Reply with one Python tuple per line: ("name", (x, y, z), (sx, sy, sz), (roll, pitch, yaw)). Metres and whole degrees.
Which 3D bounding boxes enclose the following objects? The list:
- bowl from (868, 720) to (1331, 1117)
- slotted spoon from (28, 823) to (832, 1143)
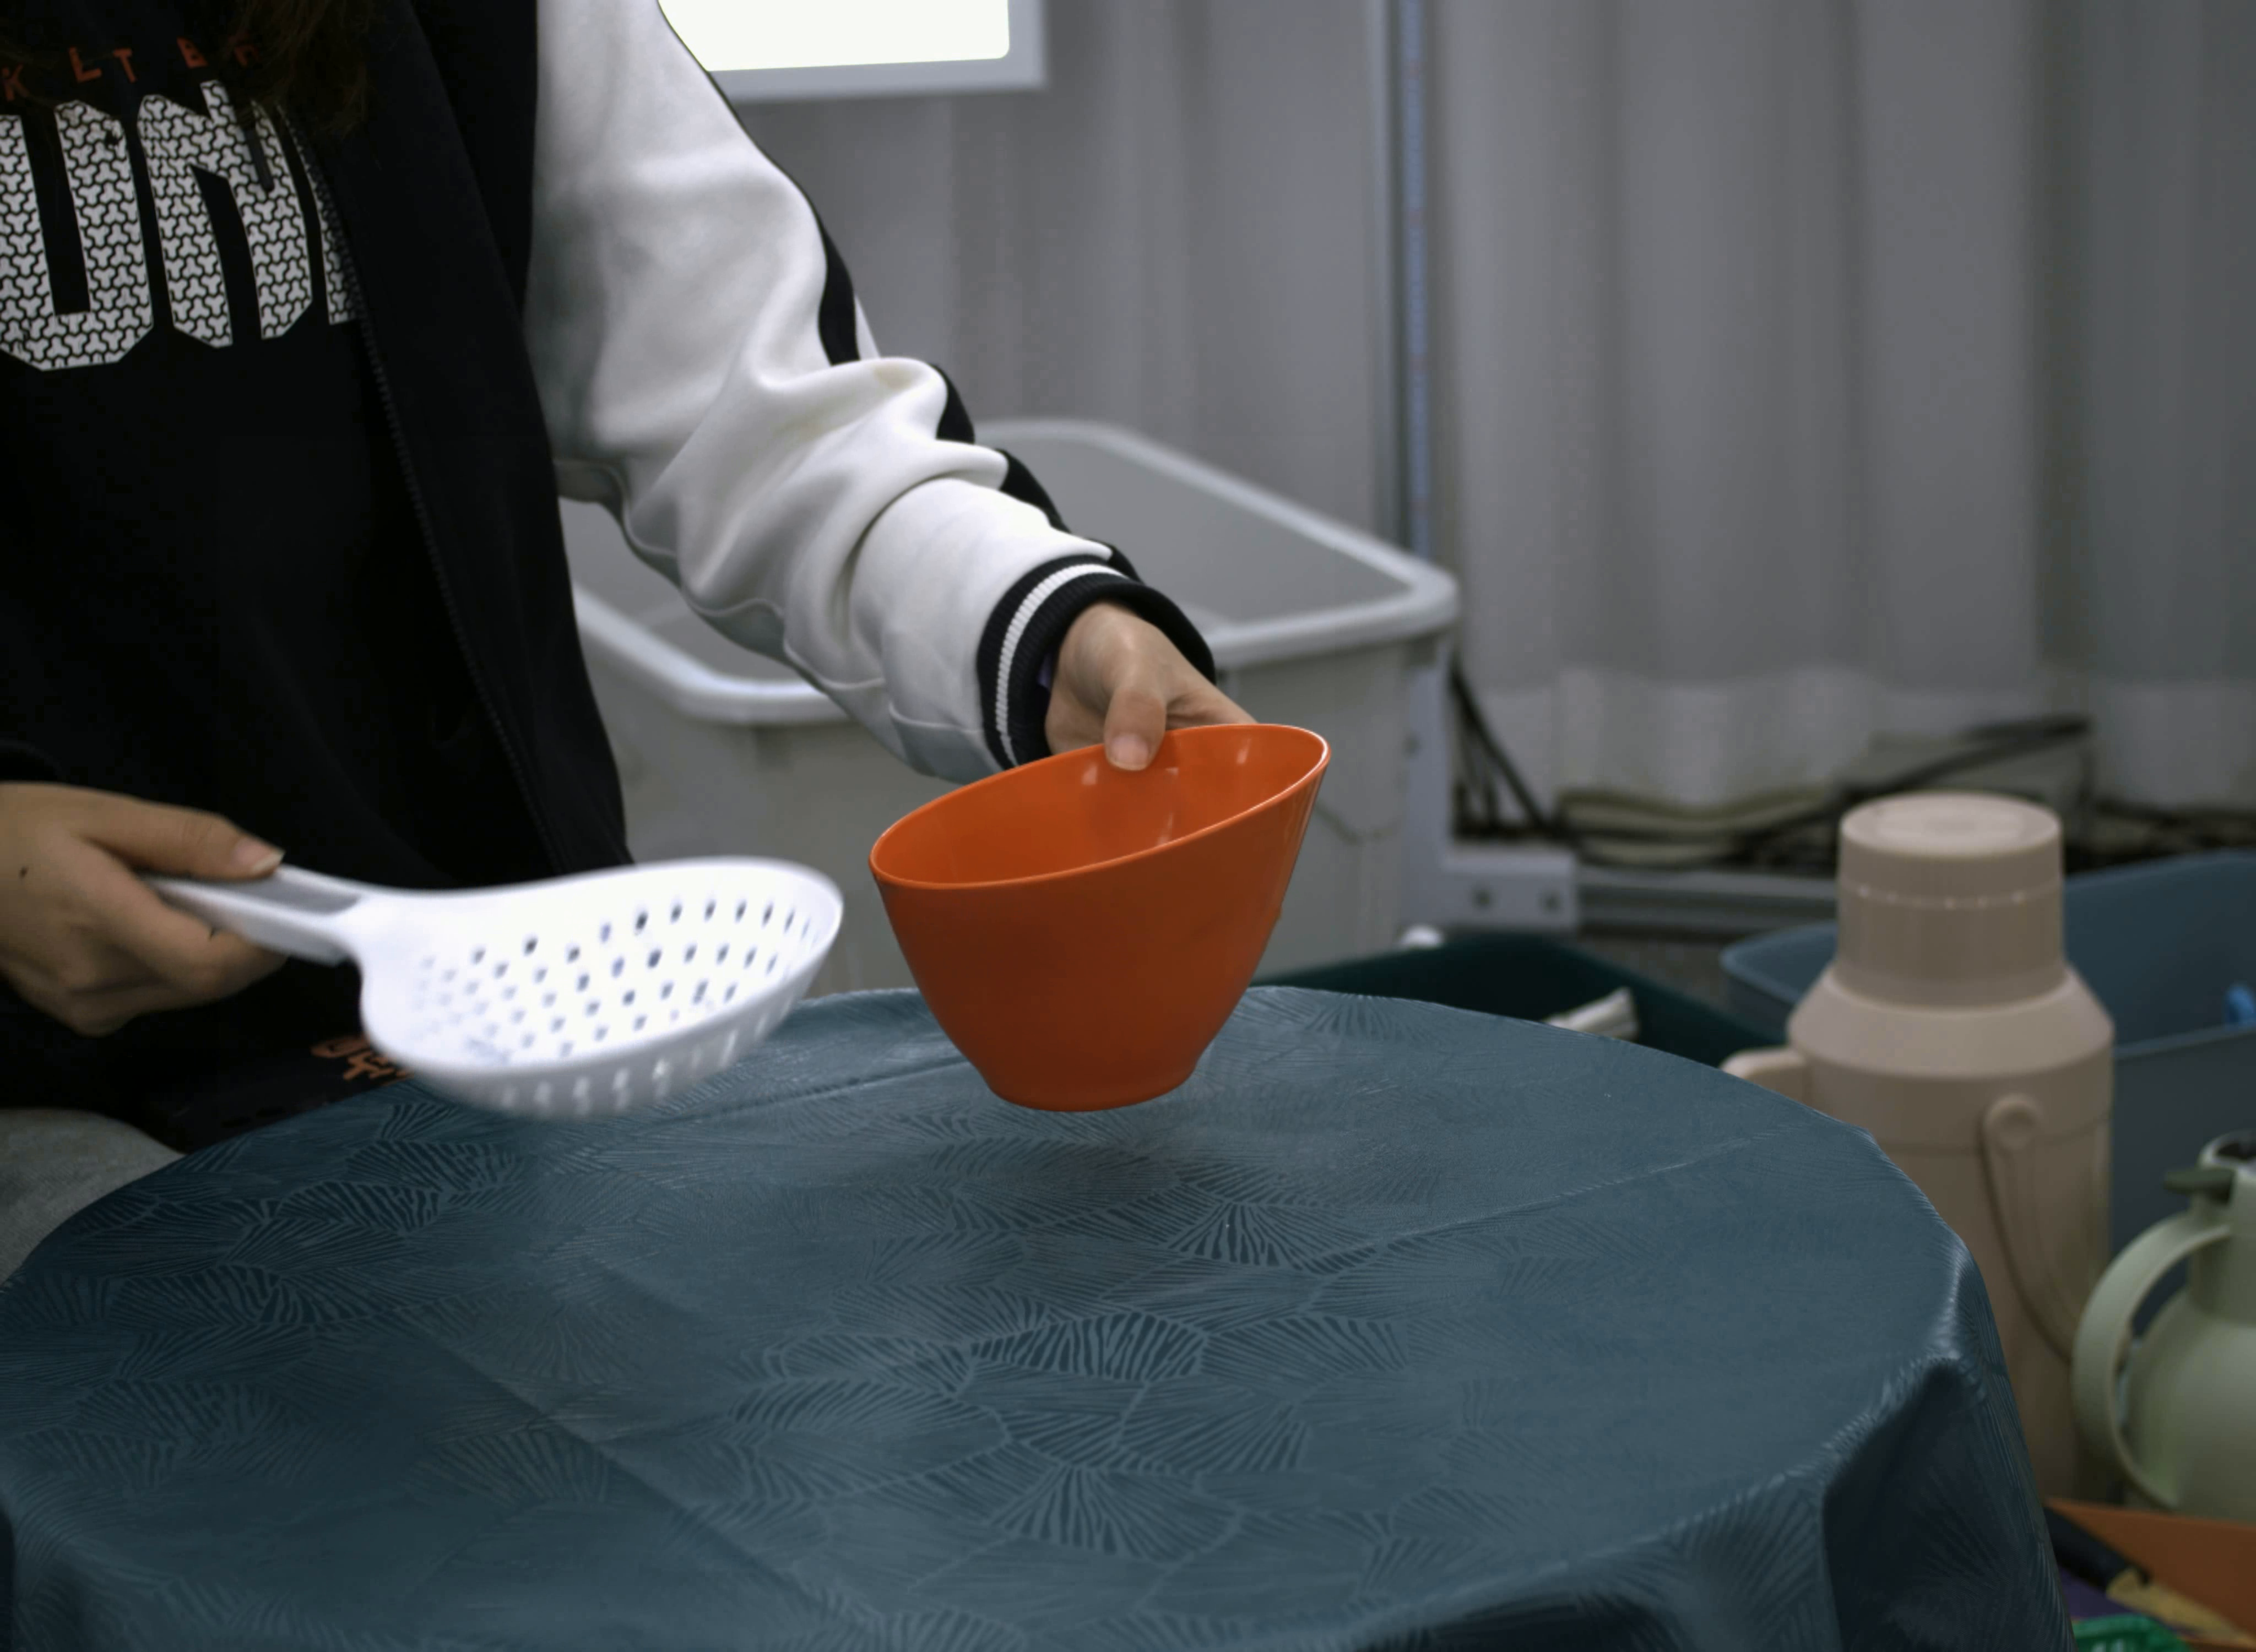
("bowl", (-0.005, 0.032, 1.712), (0.147, 0.104, 0.149), (-6, 20, 2))
("slotted spoon", (-0.221, 0.036, 1.607), (0.136, 0.045, 0.352), (-27, 31, -36))
